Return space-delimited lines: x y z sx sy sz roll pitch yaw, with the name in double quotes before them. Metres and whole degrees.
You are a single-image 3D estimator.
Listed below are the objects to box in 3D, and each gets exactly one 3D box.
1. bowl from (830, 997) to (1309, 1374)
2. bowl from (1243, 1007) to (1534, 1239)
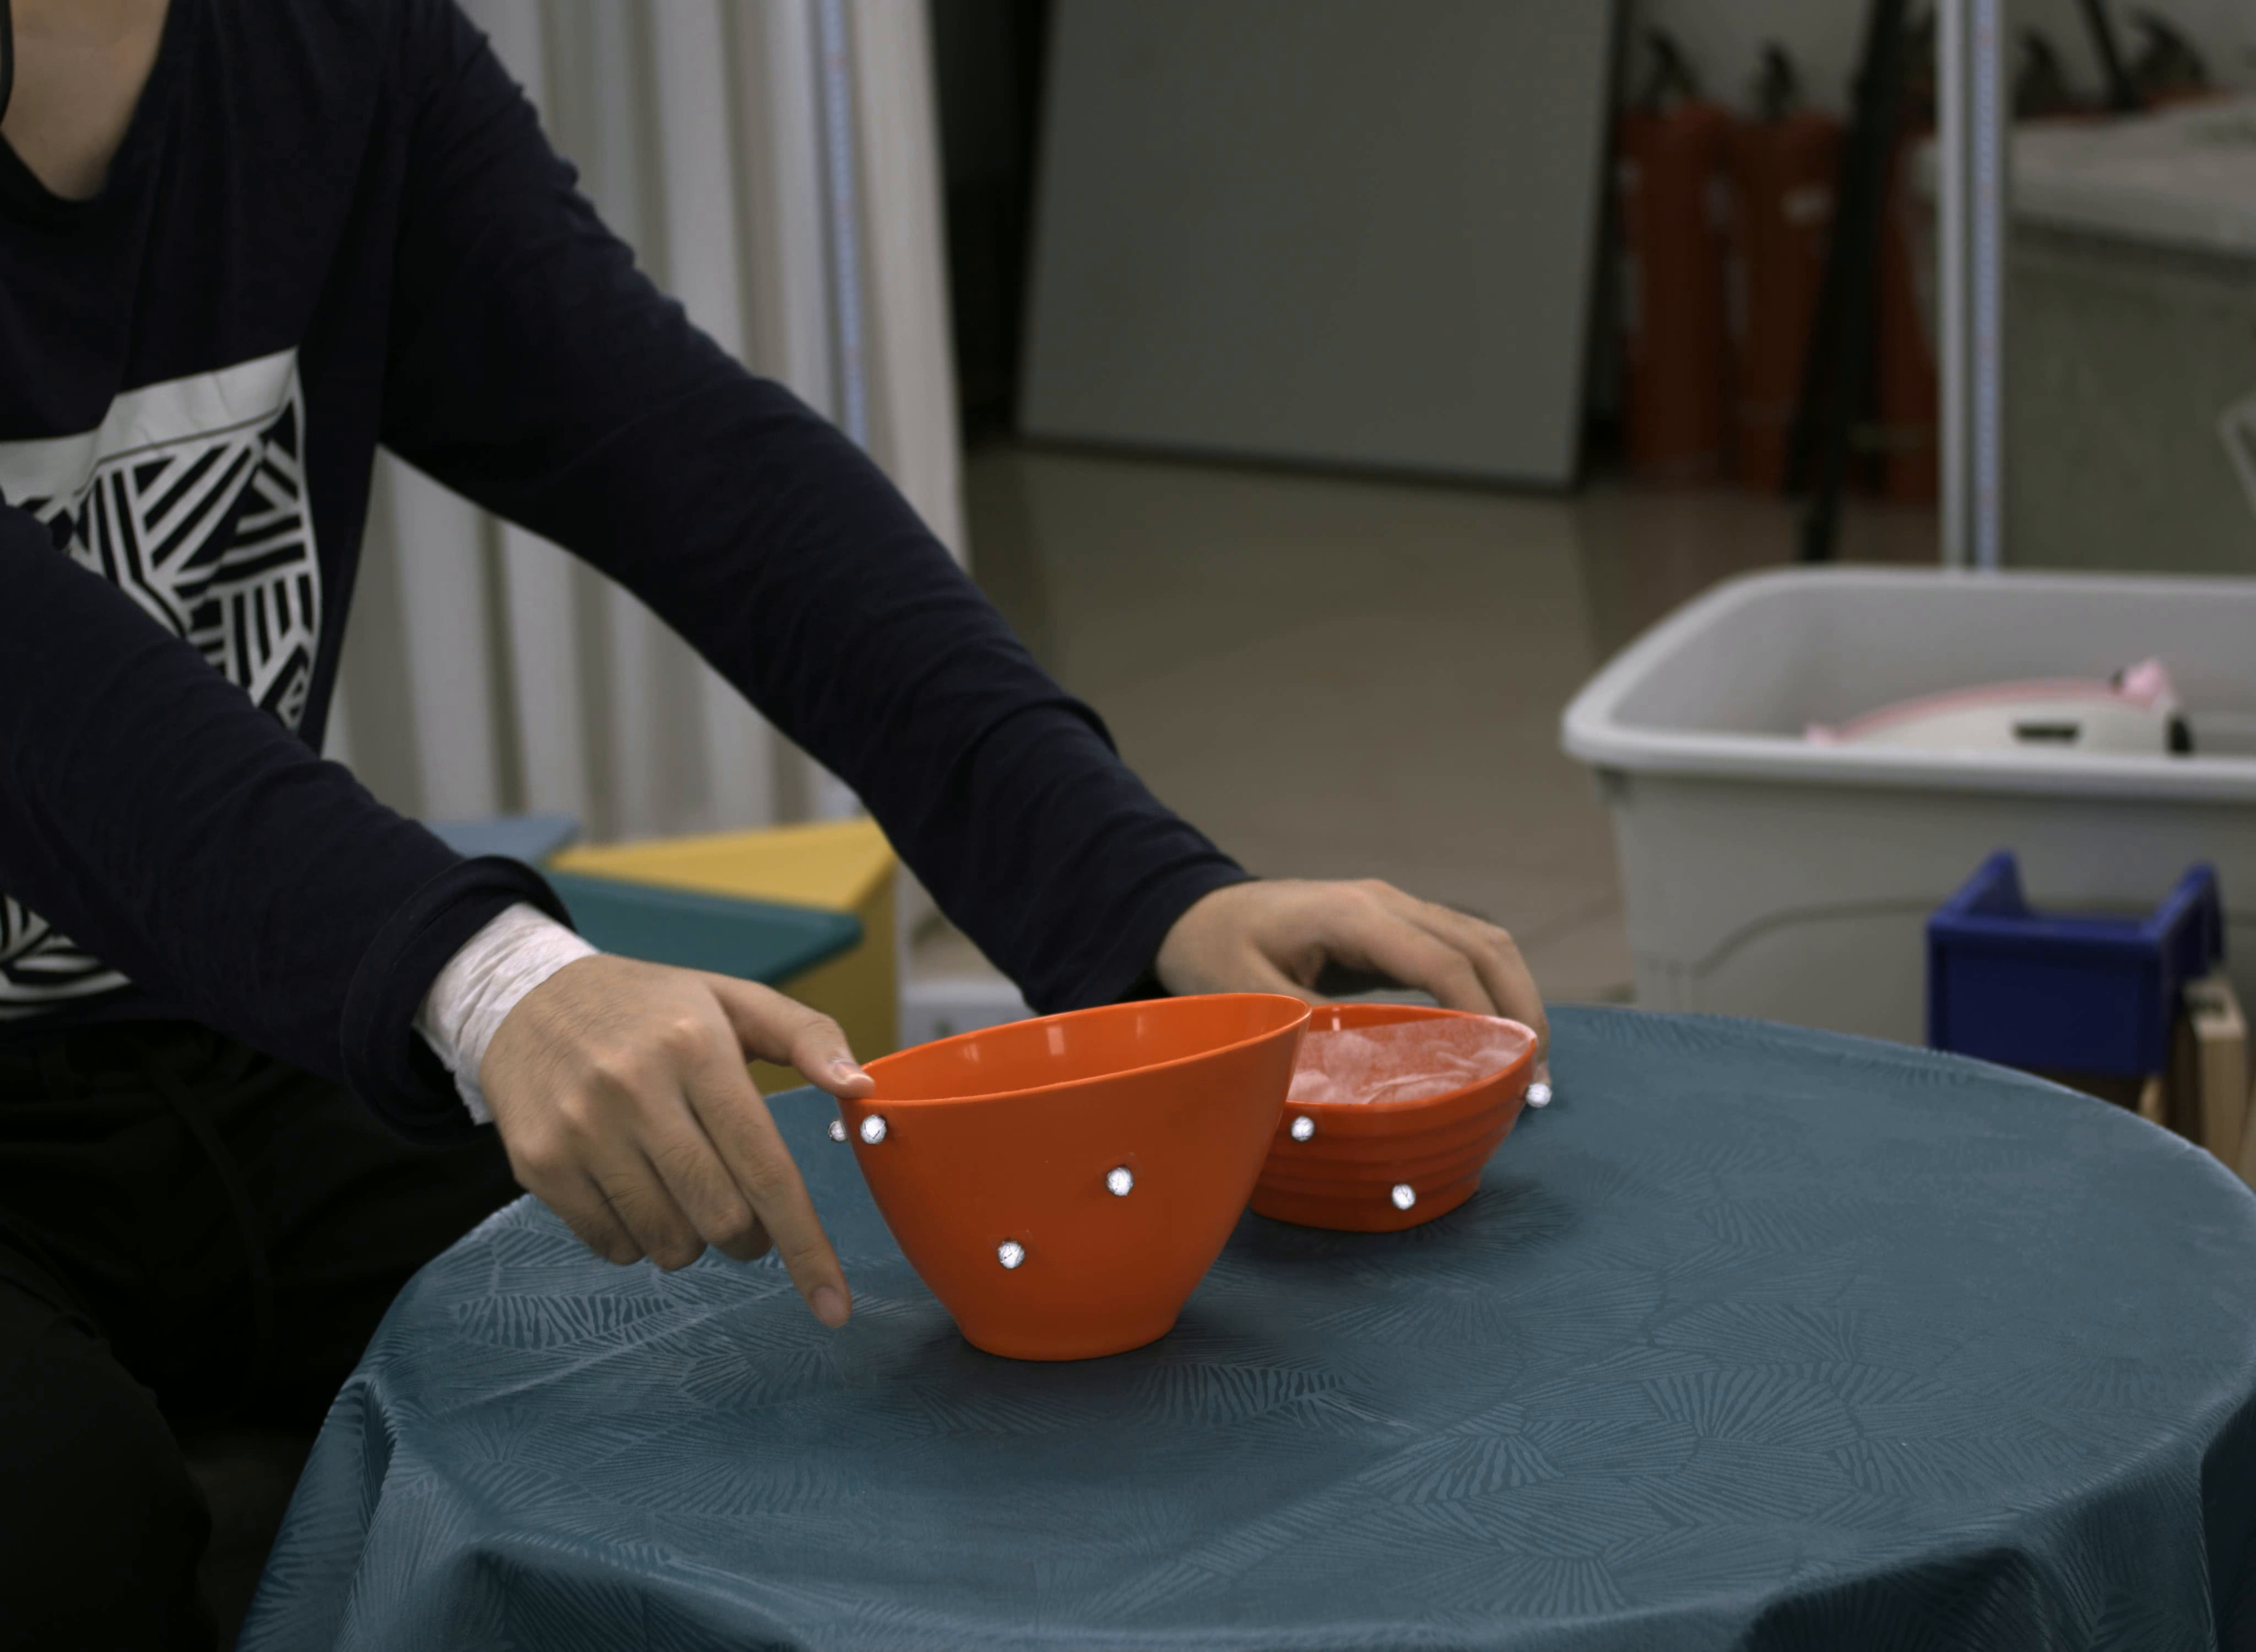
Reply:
"bowl" -0.015 0.107 1.626 0.146 0.106 0.148 -5 12 0
"bowl" 0.076 0.098 1.745 0.117 0.052 0.119 -6 14 1
